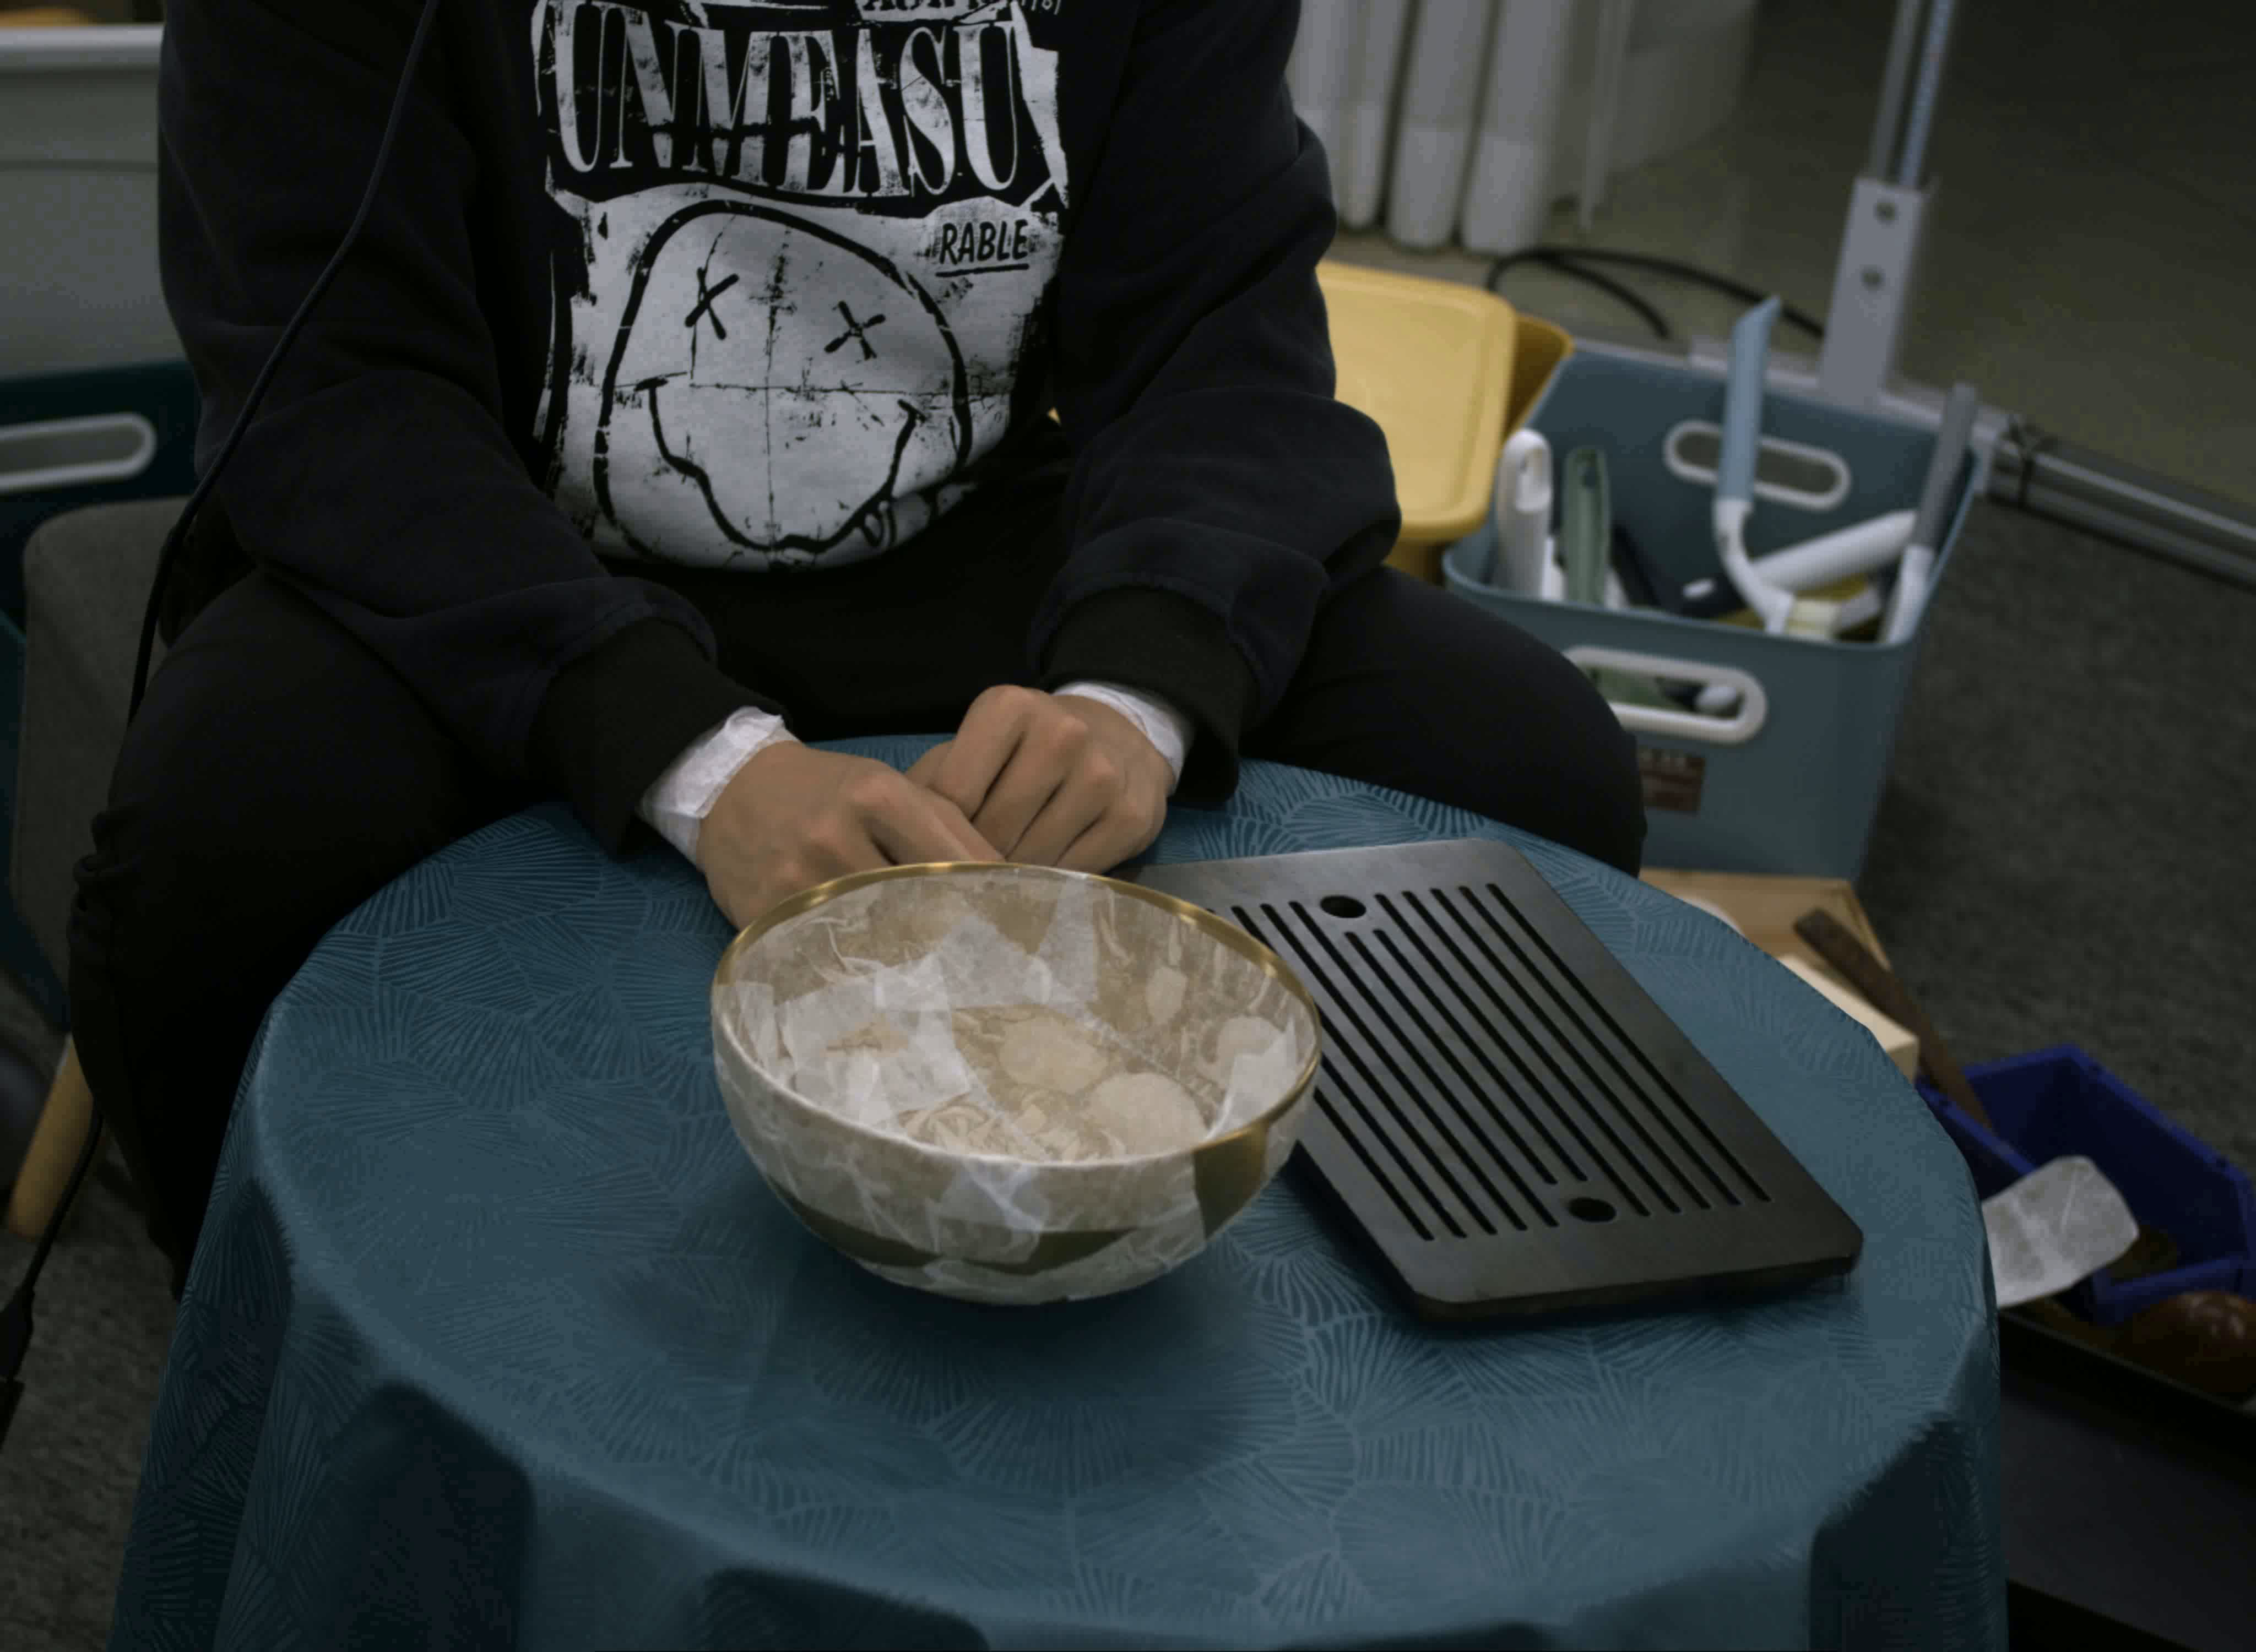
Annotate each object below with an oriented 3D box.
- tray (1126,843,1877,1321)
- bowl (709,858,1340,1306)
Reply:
[{"bbox_3d":[0.123,0.087,1.880,0.169,0.018,0.308,-4,28,-21],"label":"tray"},{"bbox_3d":[-0.036,0.095,1.745,0.214,0.094,0.216,4,27,-2],"label":"bowl"}]
